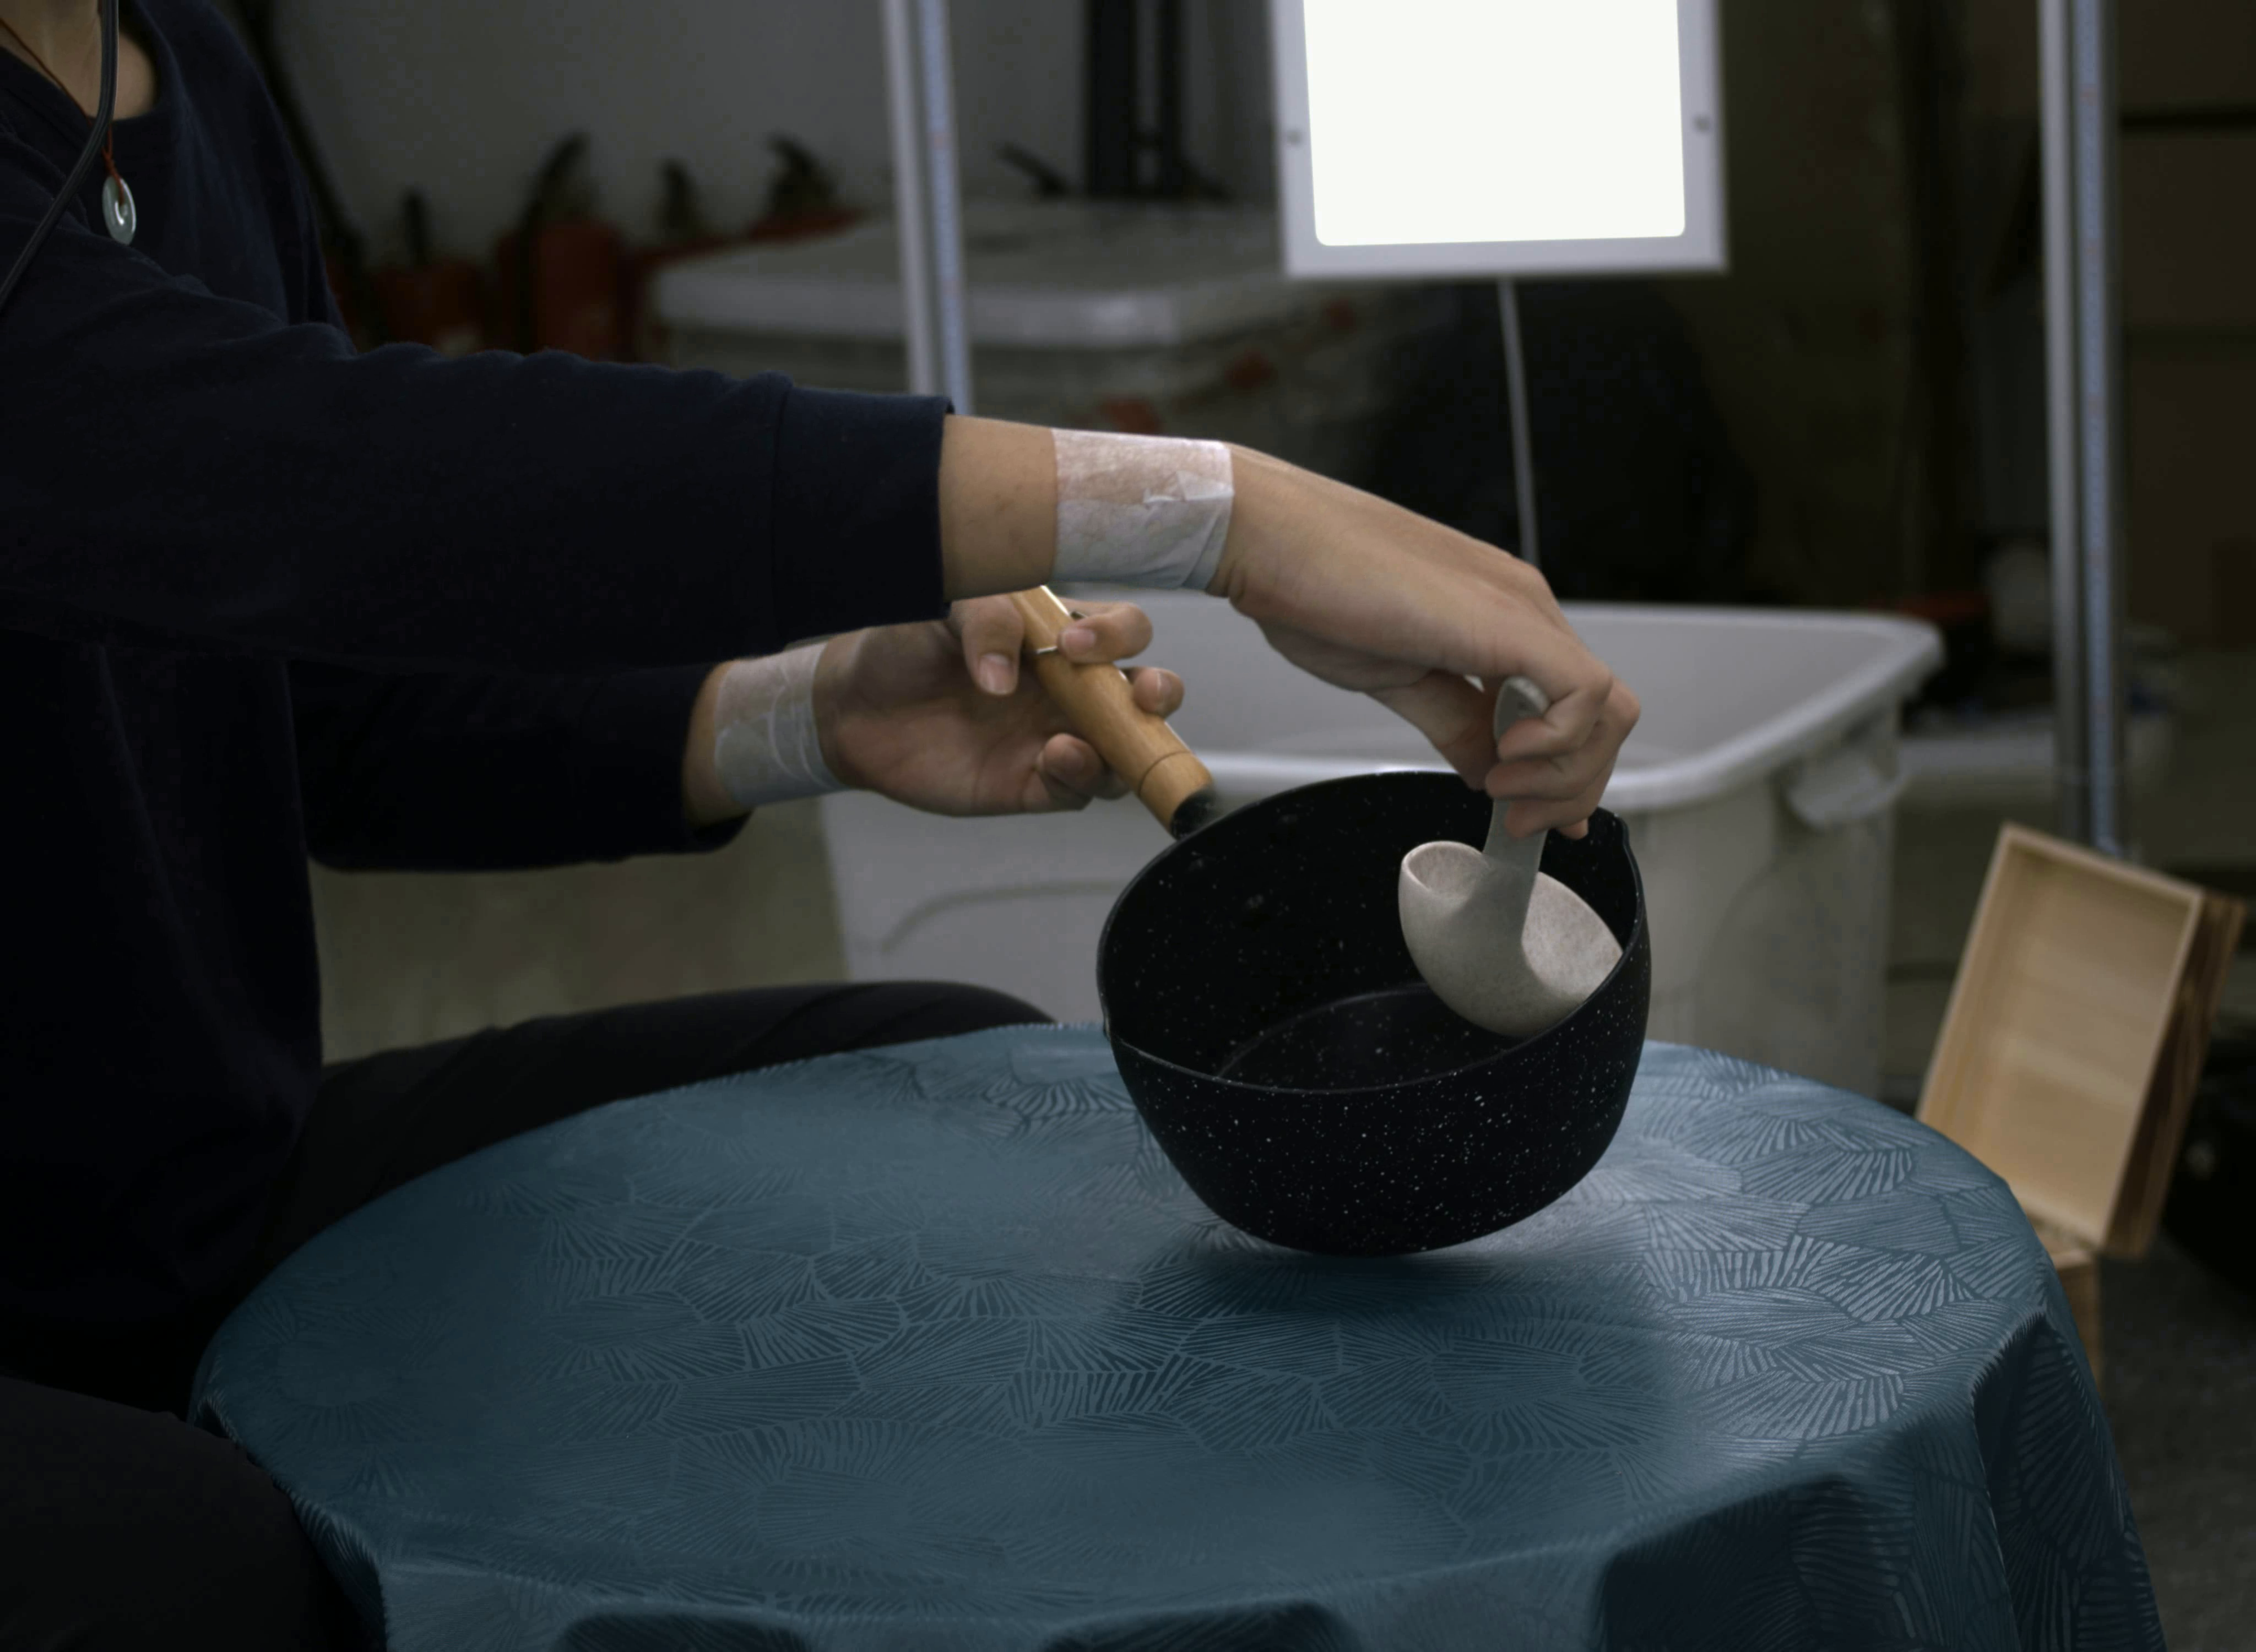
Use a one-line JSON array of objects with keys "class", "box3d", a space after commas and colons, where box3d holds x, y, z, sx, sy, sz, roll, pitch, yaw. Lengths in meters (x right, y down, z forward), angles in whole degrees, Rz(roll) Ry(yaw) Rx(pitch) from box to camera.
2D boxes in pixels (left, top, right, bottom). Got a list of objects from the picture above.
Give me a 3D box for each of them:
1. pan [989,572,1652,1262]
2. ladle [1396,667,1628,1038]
[{"class": "pan", "box3d": [0.045, 0.025, 1.900, 0.204, 0.108, 0.348, -26, 37, -18]}, {"class": "ladle", "box3d": [0.130, -0.008, 1.700, 0.068, 0.090, 0.276, -41, -16, -17]}]
